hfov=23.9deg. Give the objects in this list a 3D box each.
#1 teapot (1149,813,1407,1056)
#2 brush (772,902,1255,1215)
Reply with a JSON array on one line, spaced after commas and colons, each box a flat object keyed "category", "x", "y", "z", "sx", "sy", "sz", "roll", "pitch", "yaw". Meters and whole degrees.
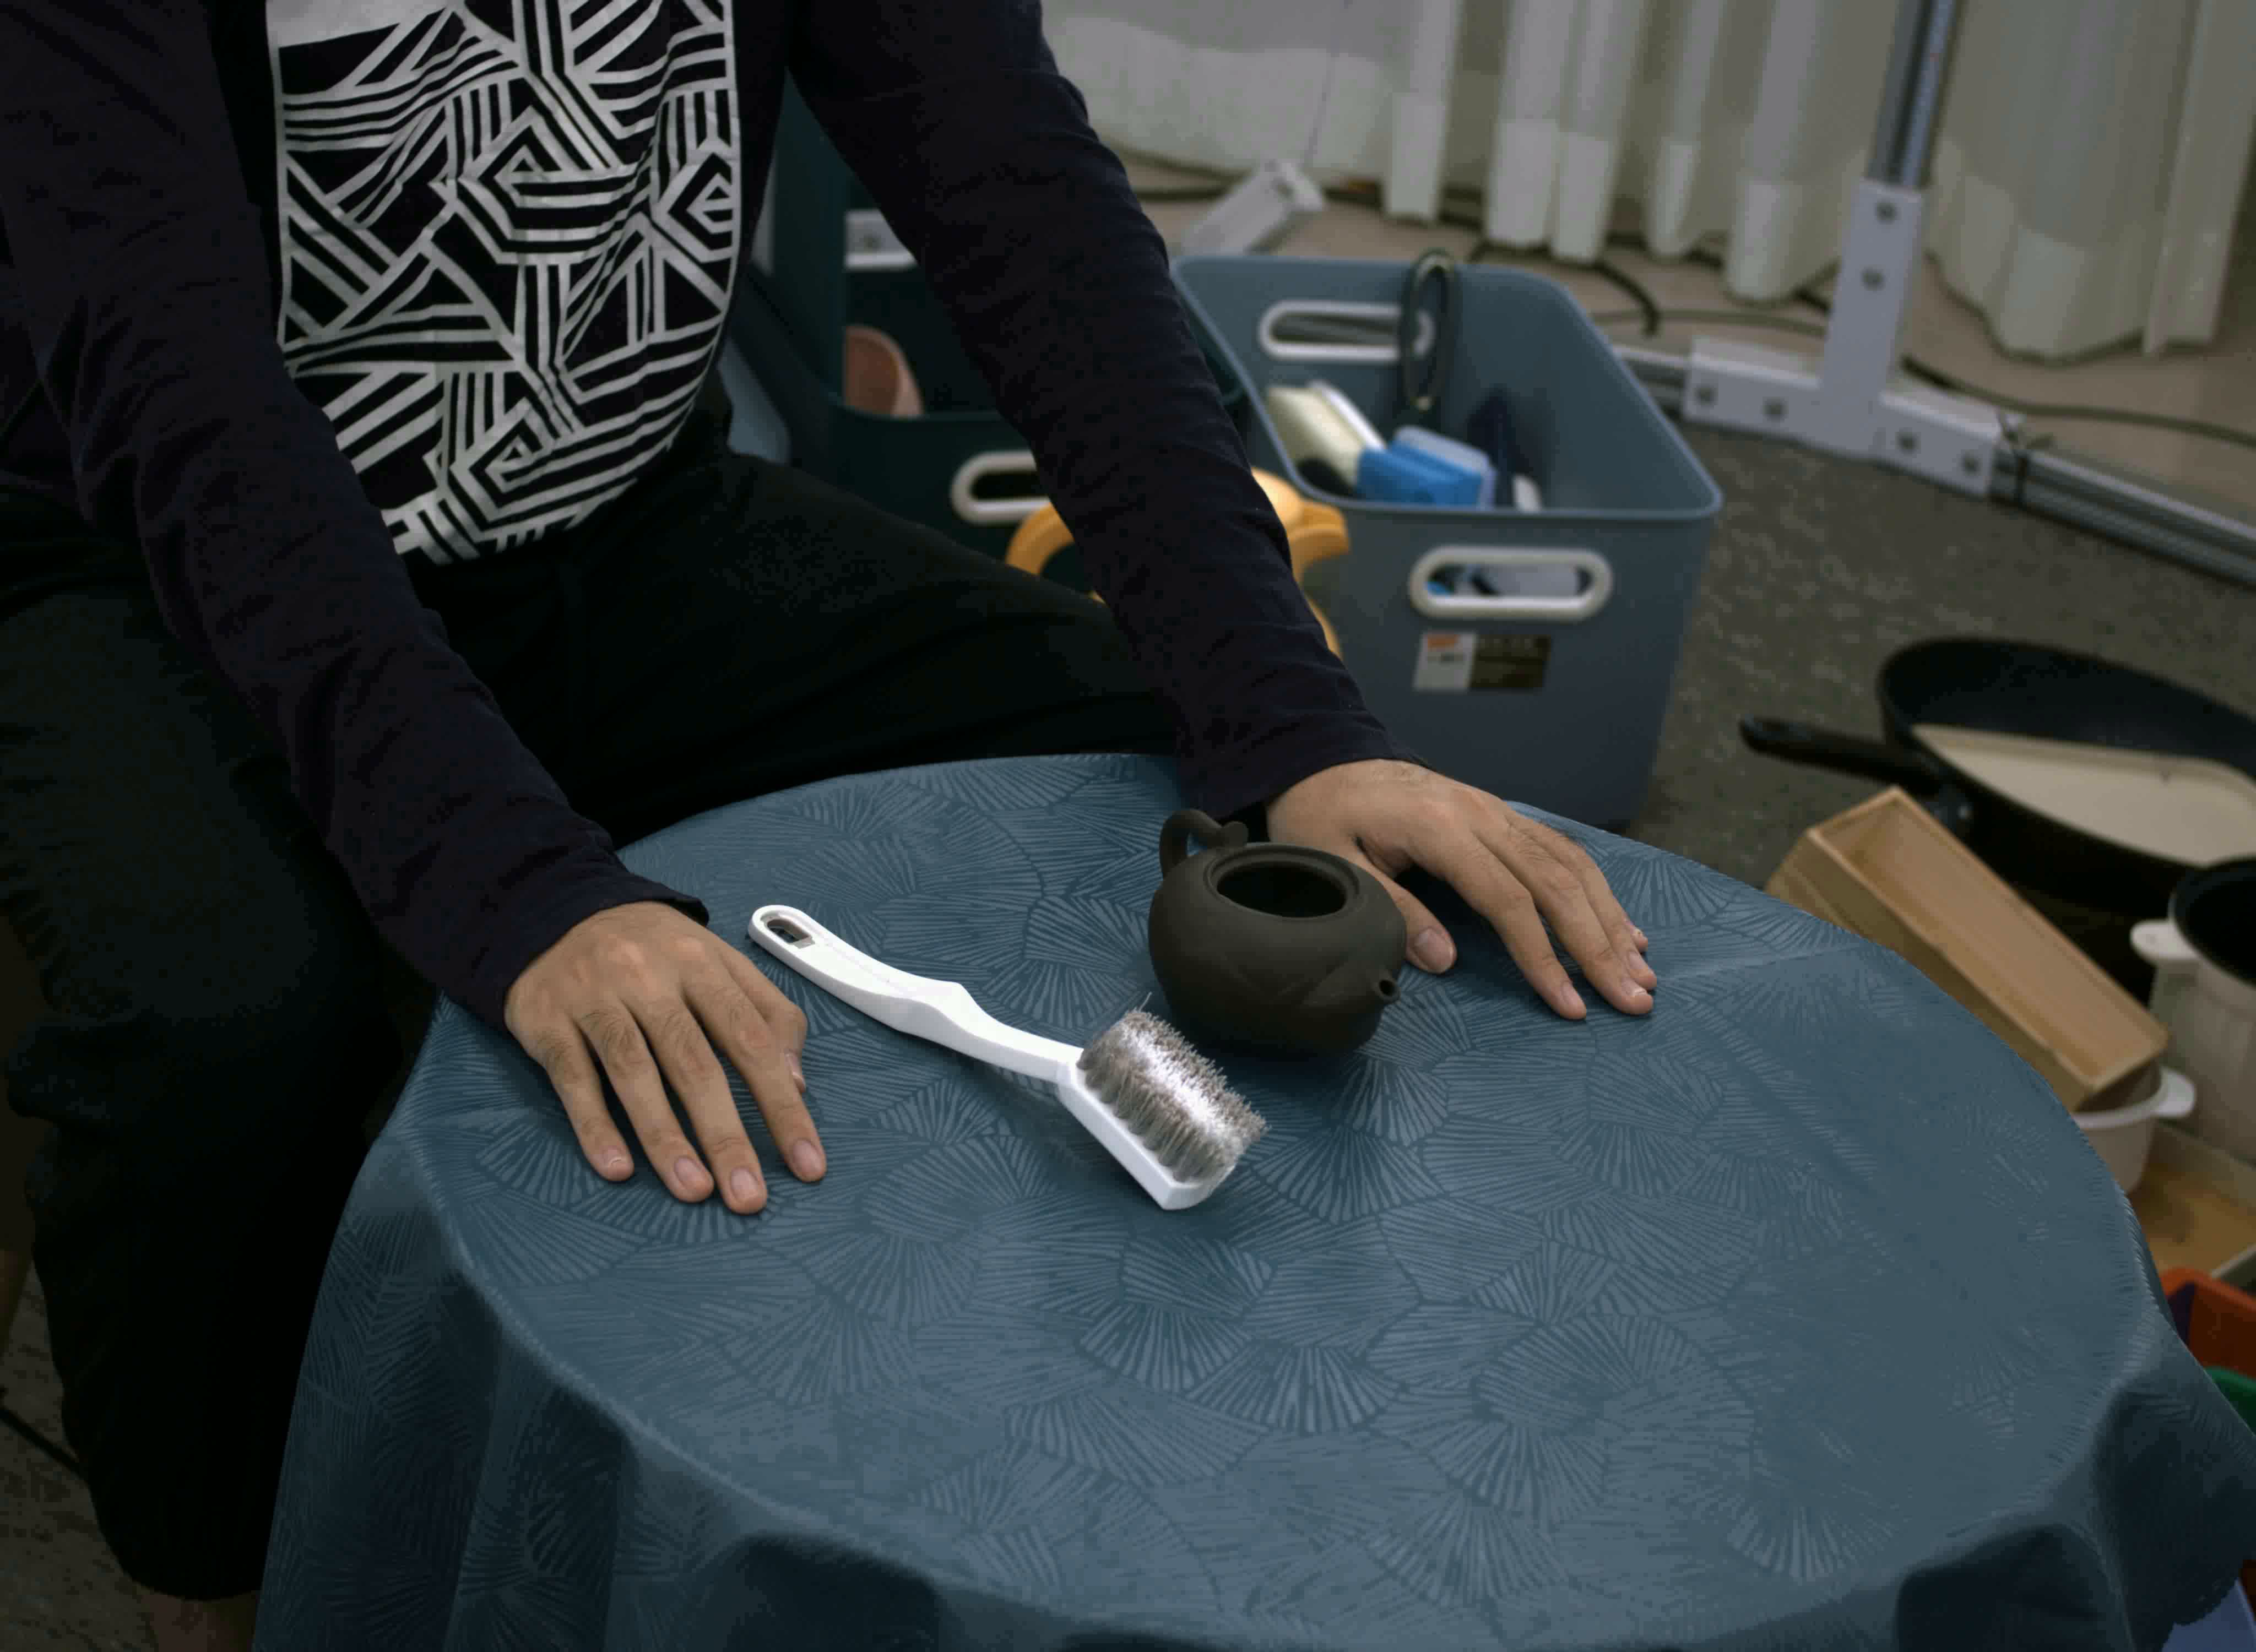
[{"category": "teapot", "x": 0.052, "y": 0.042, "z": 1.911, "sx": 0.092, "sy": 0.064, "sz": 0.155, "roll": -9, "pitch": 30, "yaw": -27}, {"category": "brush", "x": -0.045, "y": 0.064, "z": 1.863, "sx": 0.034, "sy": 0.050, "sz": 0.245, "roll": -21, "pitch": 37, "yaw": -35}]
